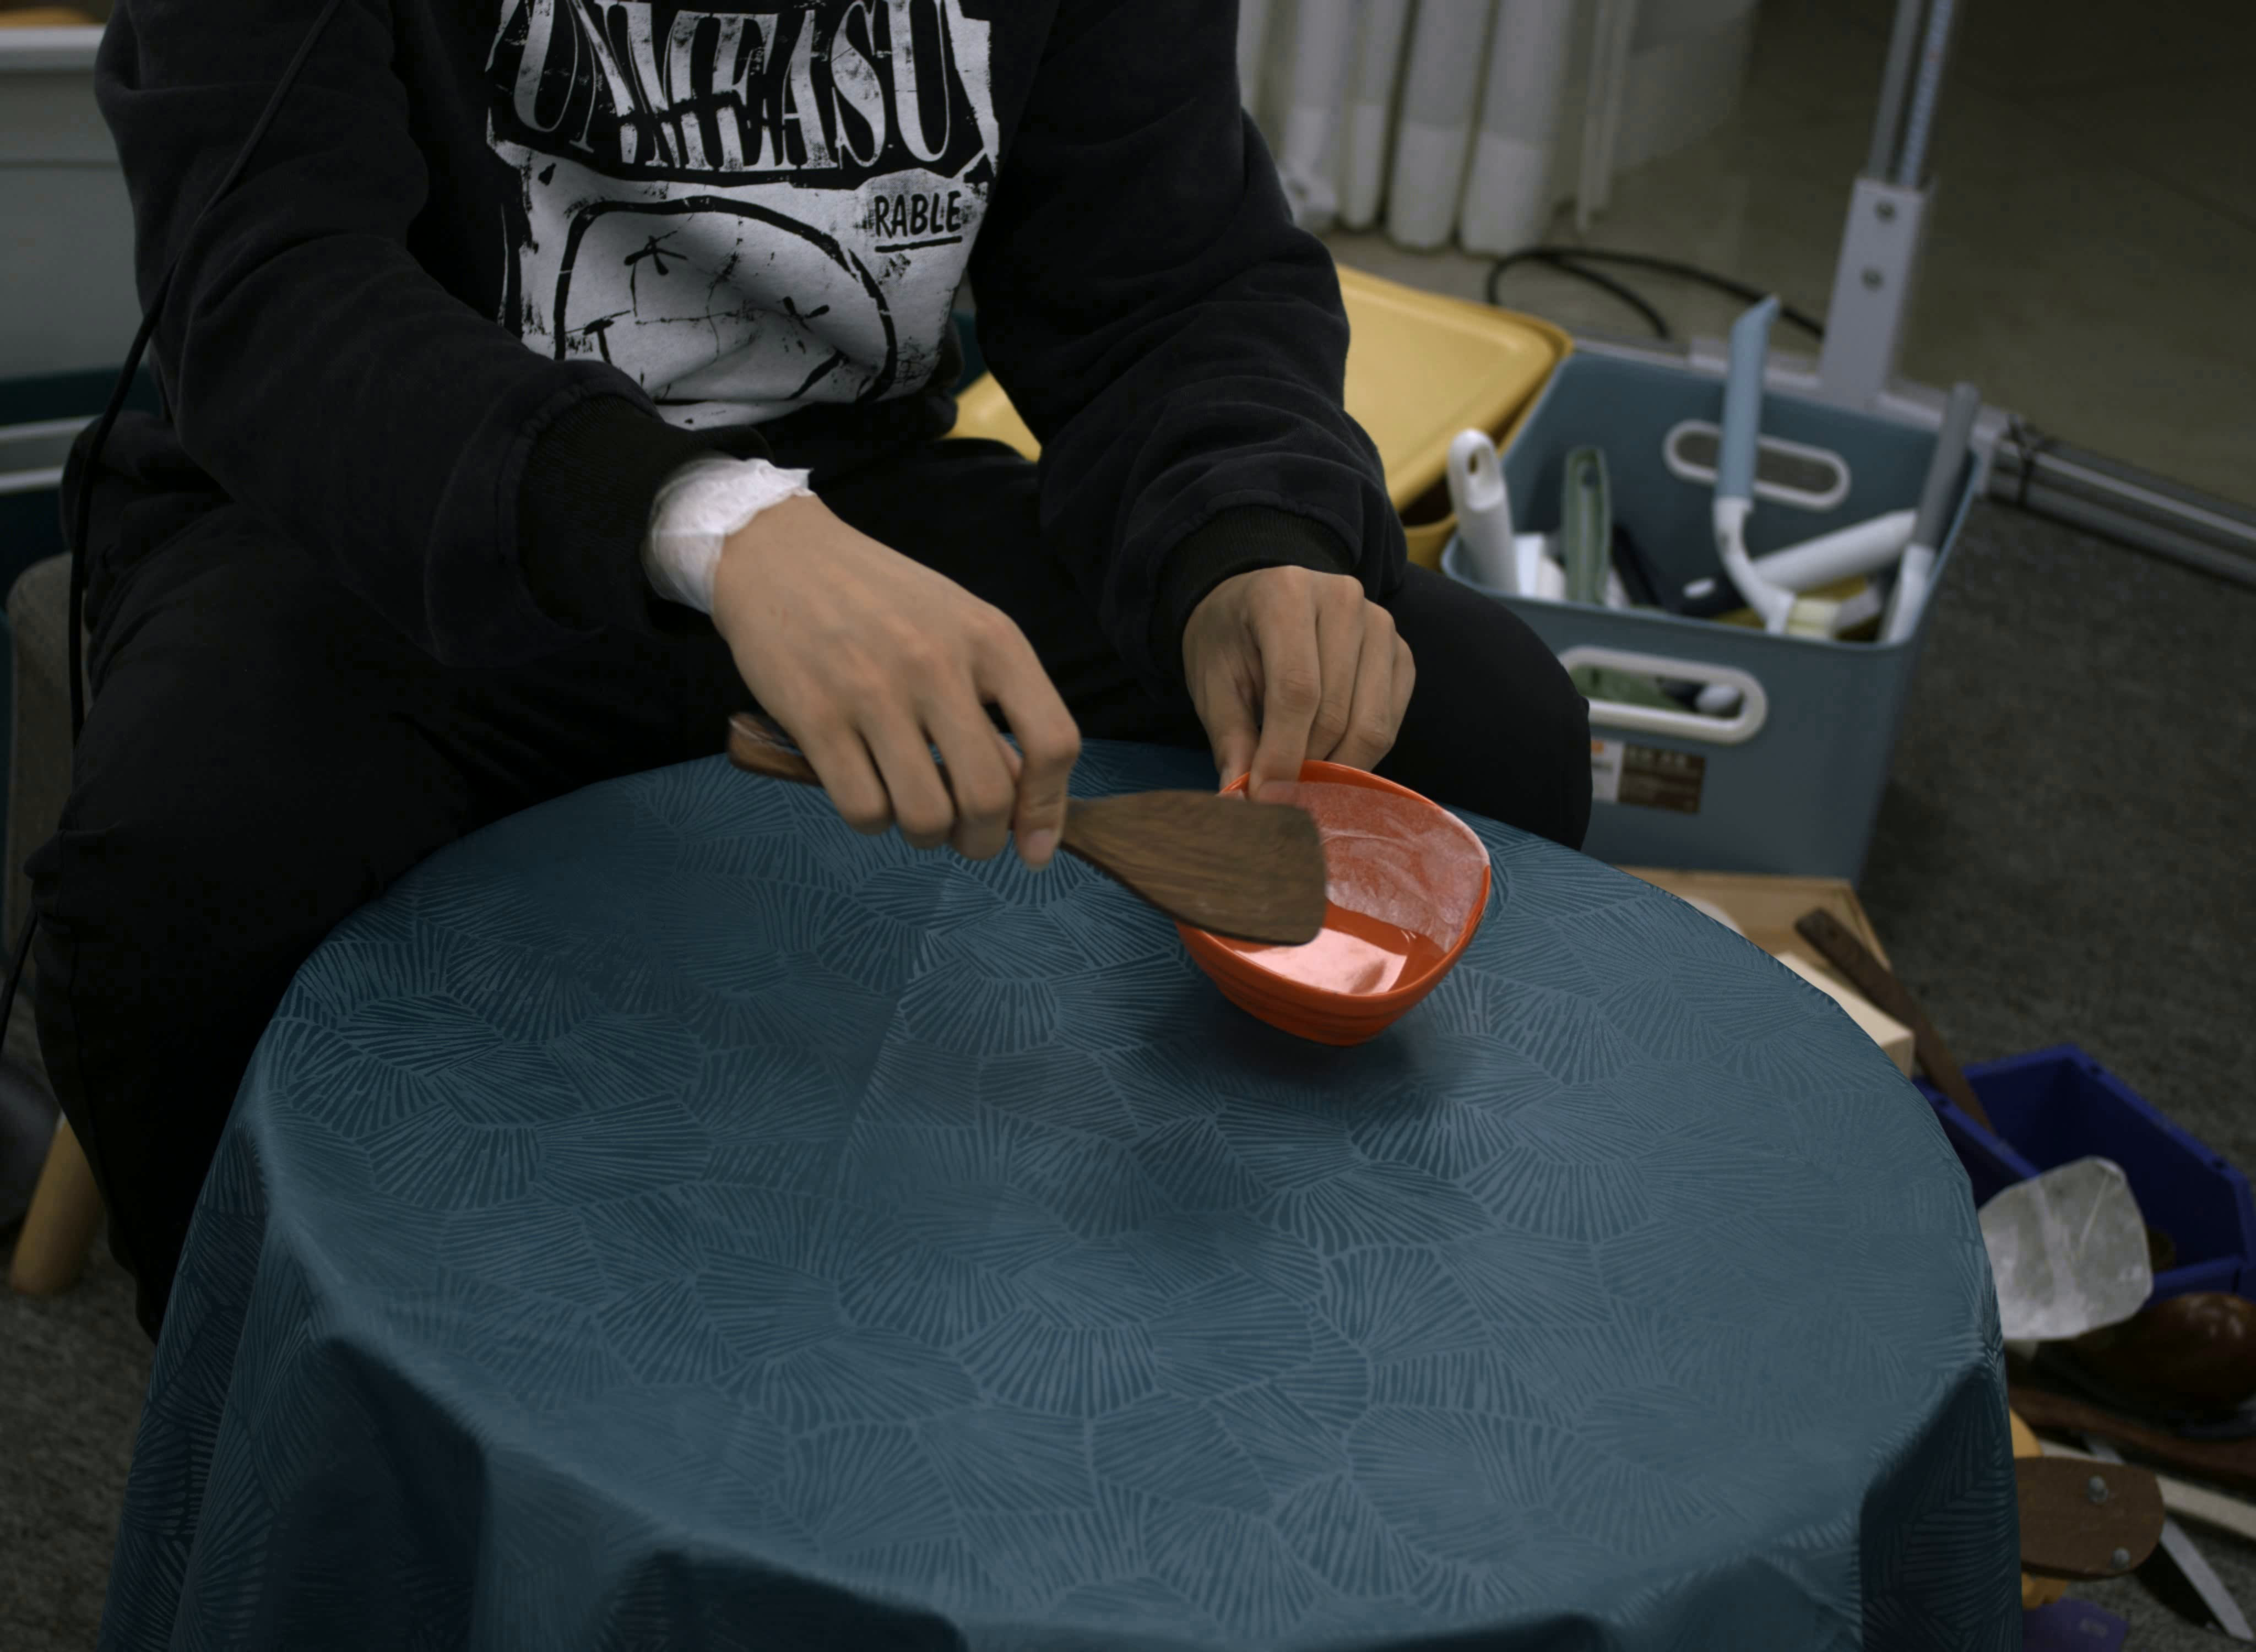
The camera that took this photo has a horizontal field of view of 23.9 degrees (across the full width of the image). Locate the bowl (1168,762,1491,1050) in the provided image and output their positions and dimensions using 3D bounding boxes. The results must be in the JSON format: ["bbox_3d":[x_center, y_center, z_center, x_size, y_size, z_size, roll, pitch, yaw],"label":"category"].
[{"bbox_3d":[0.071,0.036,1.914,0.118,0.051,0.120,2,46,-3],"label":"bowl"}]

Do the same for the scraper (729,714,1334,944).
[{"bbox_3d":[-0.032,-0.005,1.793,0.210,0.011,0.076,14,39,-8],"label":"scraper"}]
